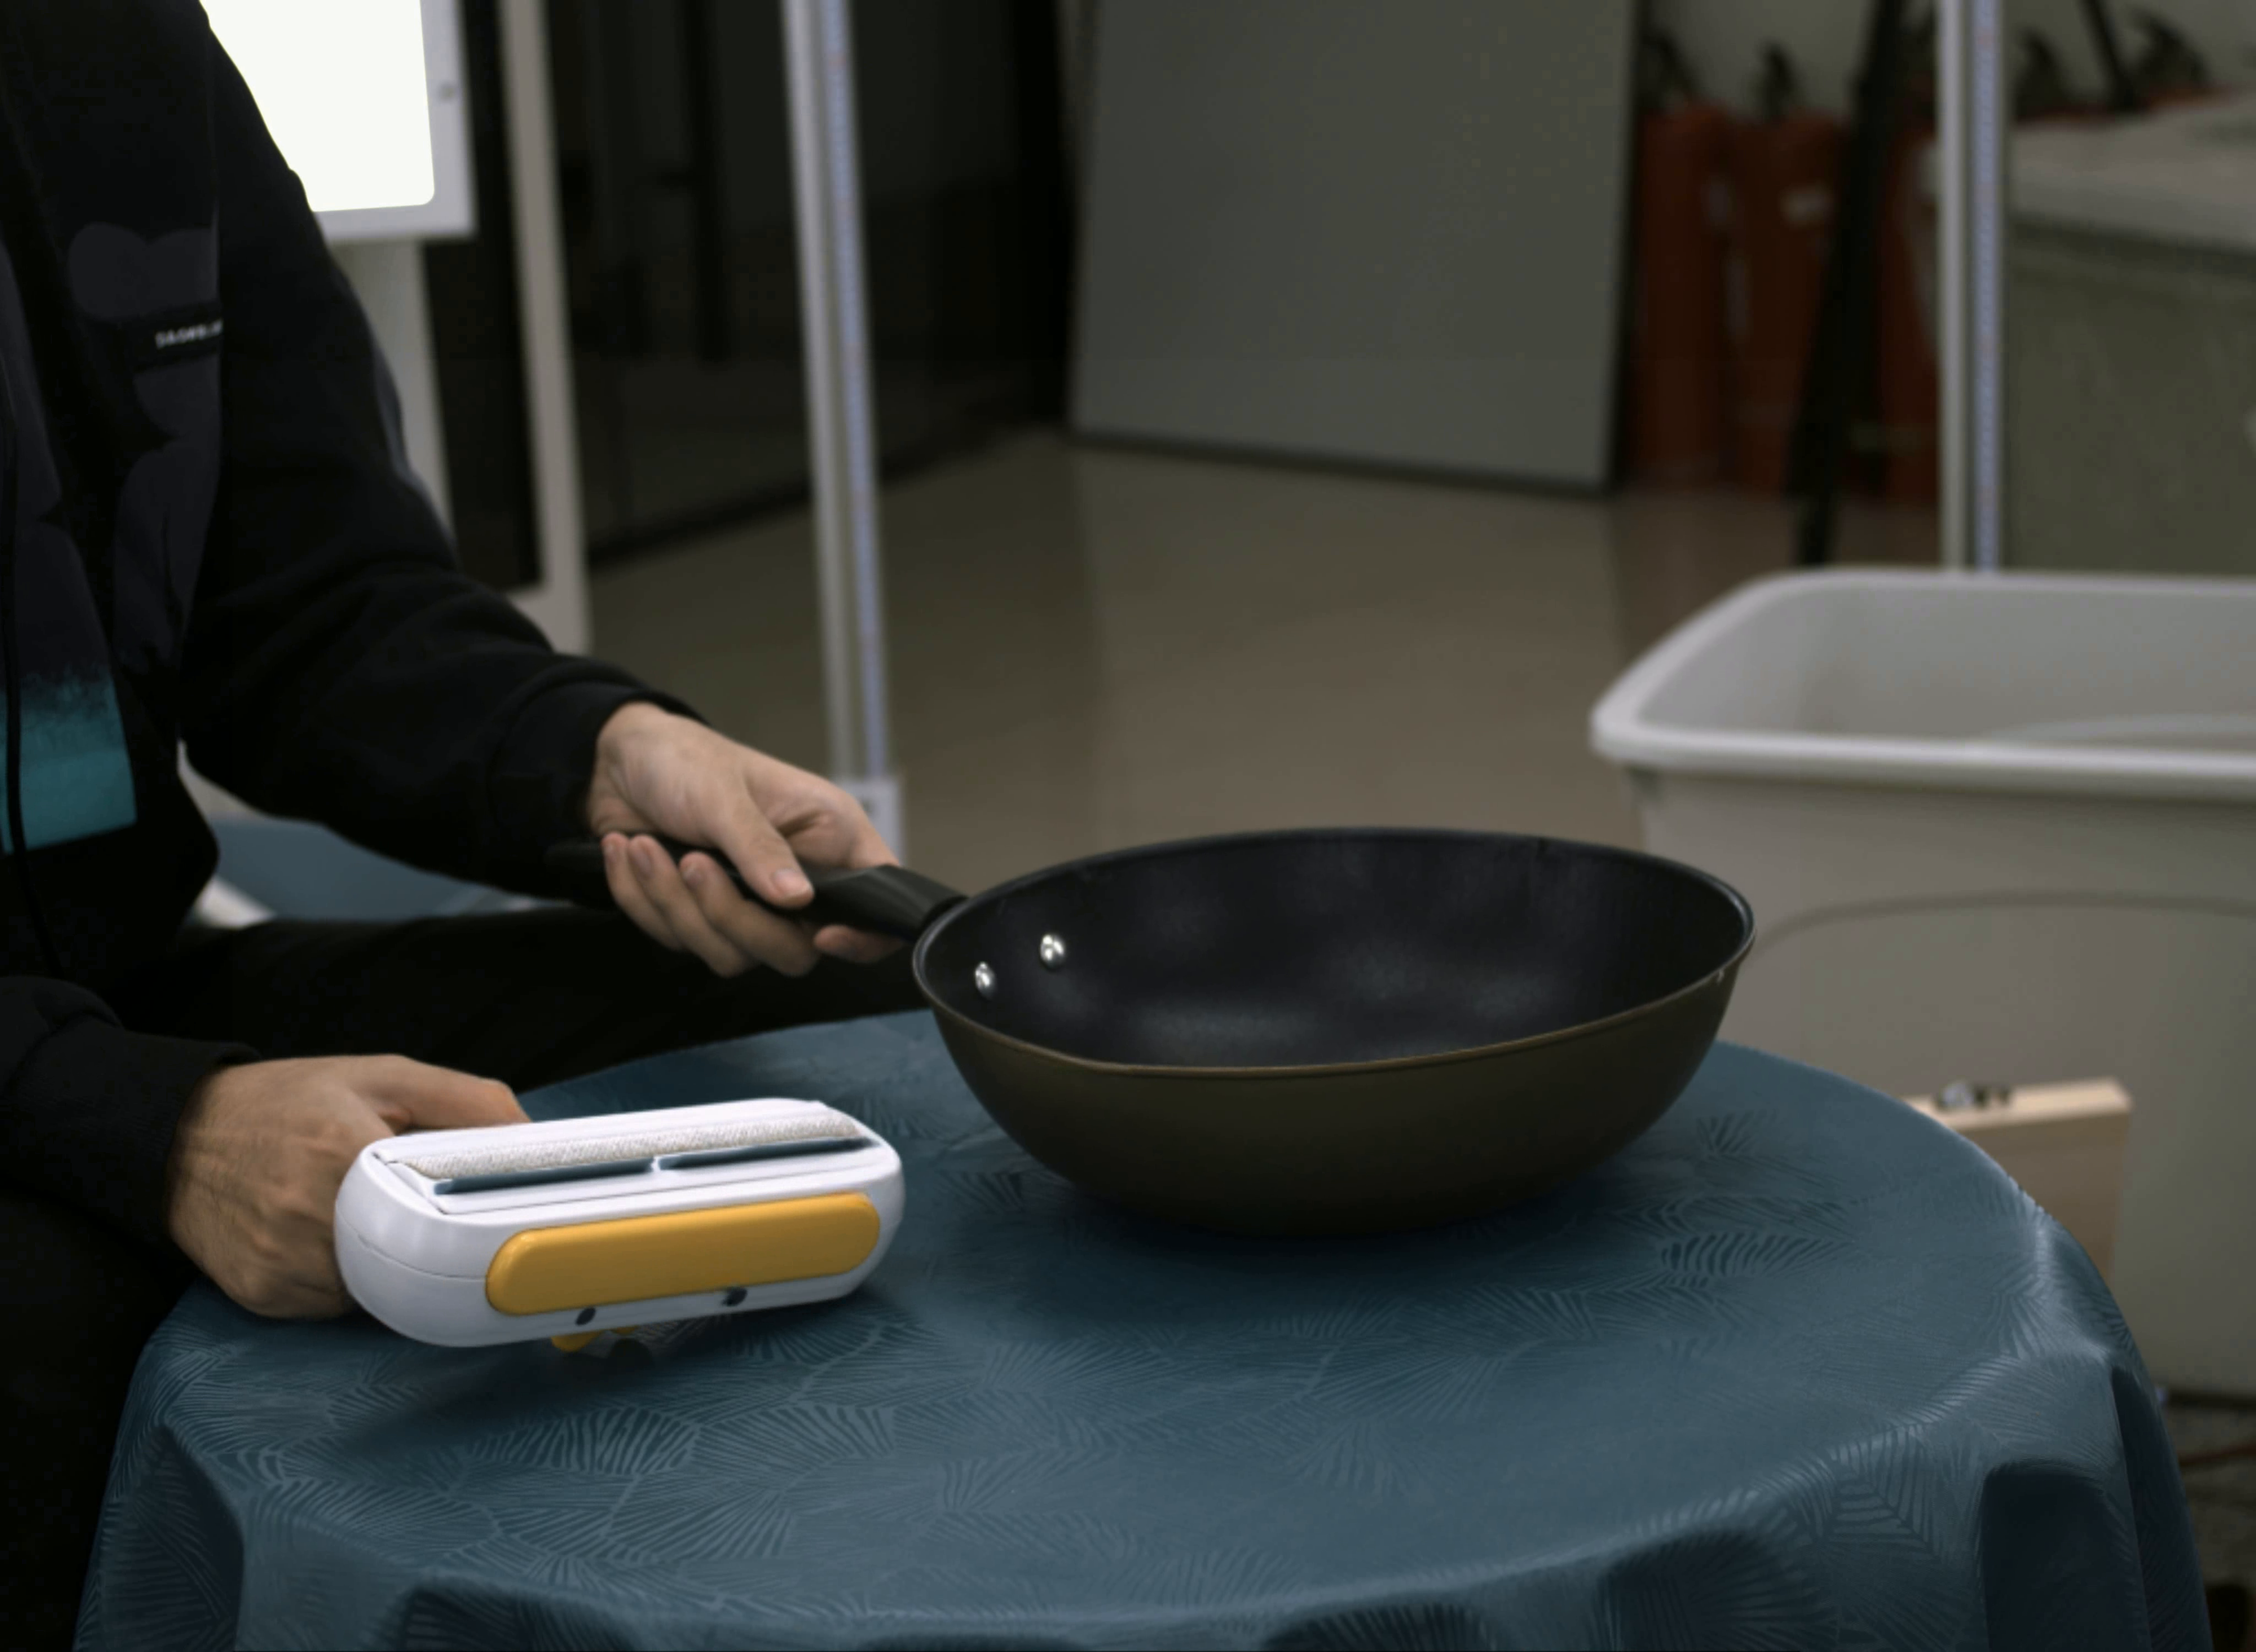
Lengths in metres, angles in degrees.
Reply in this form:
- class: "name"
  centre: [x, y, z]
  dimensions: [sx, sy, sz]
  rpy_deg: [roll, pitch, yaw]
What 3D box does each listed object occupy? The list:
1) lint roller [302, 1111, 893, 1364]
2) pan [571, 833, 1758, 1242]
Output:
- class: "lint roller"
  centre: [-0.192, 0.114, 1.688]
  dimensions: [0.188, 0.075, 0.194]
  rpy_deg: [-7, 18, -35]
- class: "pan"
  centre: [-0.006, 0.066, 1.820]
  dimensions: [0.466, 0.088, 0.283]
  rpy_deg: [5, 17, 34]
